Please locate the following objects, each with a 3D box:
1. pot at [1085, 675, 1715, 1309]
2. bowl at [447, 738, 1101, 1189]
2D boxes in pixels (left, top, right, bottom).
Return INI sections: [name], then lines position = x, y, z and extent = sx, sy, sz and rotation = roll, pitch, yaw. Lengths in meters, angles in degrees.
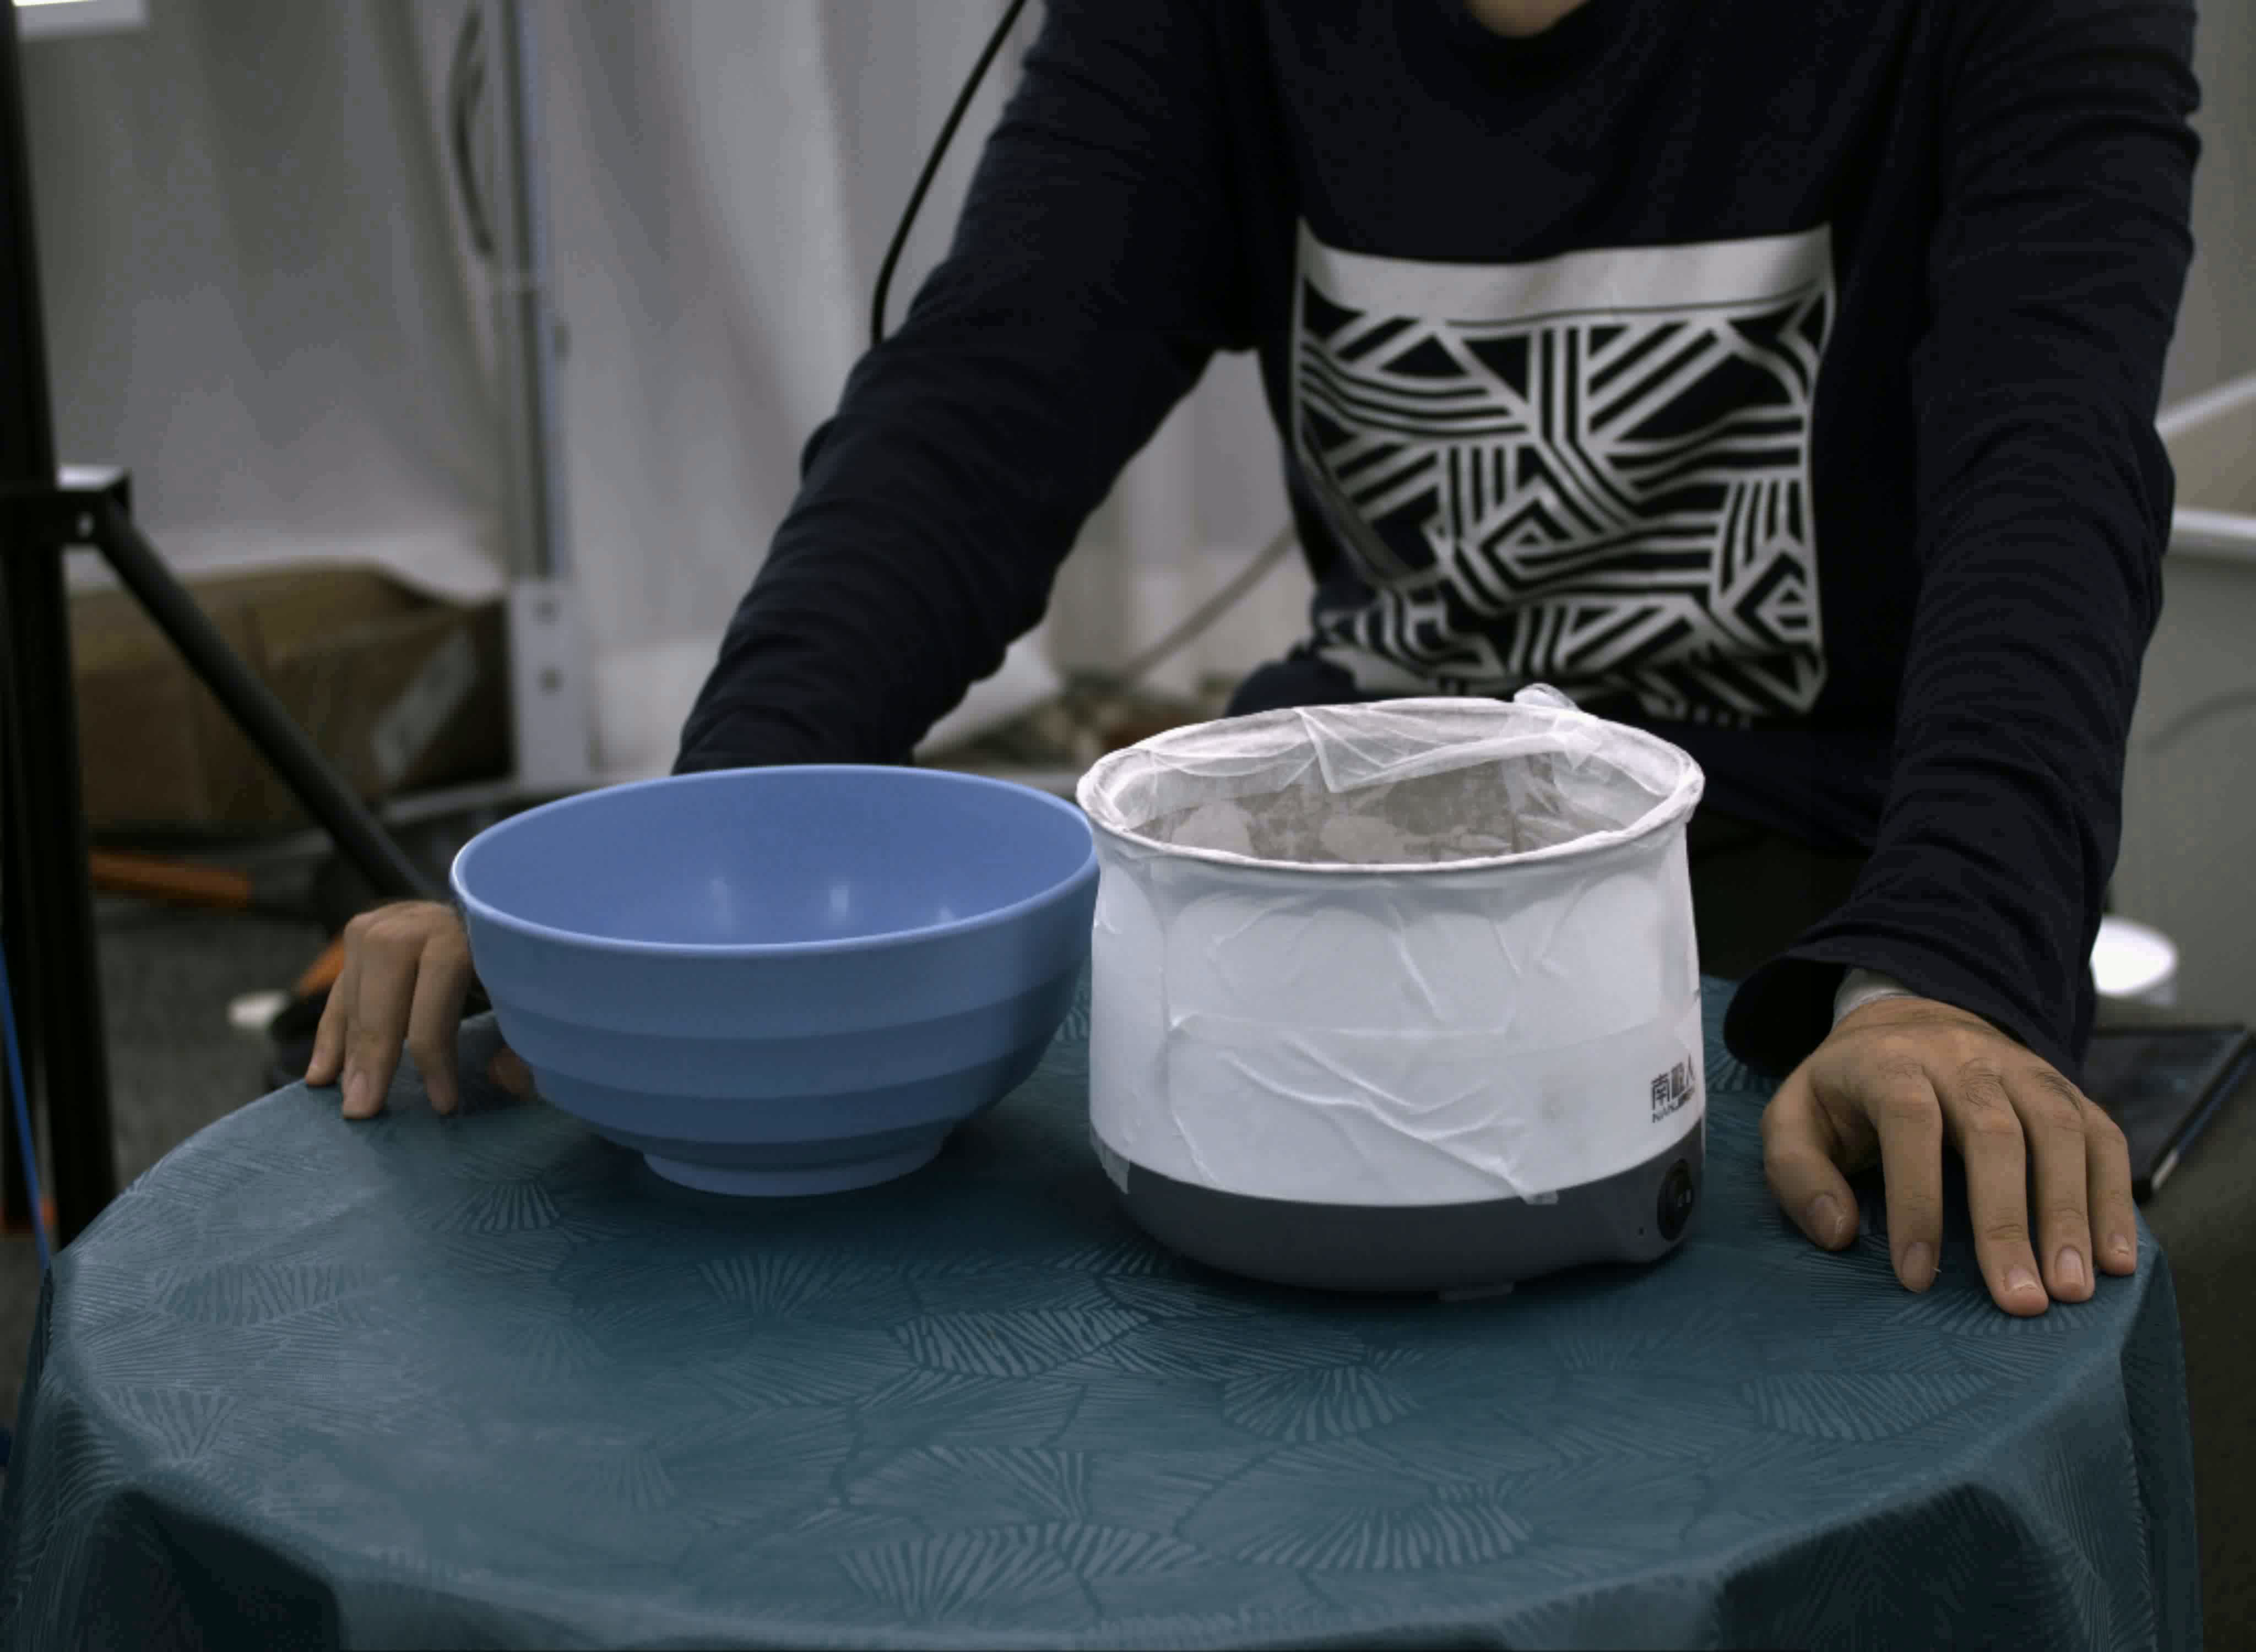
[pot]
position = 0.089, 0.040, 1.534
extent = 0.182, 0.136, 0.230
rotation = 9, 20, 27
[bowl]
position = -0.102, 0.048, 1.601
extent = 0.195, 0.095, 0.197
rotation = -5, 19, 0
